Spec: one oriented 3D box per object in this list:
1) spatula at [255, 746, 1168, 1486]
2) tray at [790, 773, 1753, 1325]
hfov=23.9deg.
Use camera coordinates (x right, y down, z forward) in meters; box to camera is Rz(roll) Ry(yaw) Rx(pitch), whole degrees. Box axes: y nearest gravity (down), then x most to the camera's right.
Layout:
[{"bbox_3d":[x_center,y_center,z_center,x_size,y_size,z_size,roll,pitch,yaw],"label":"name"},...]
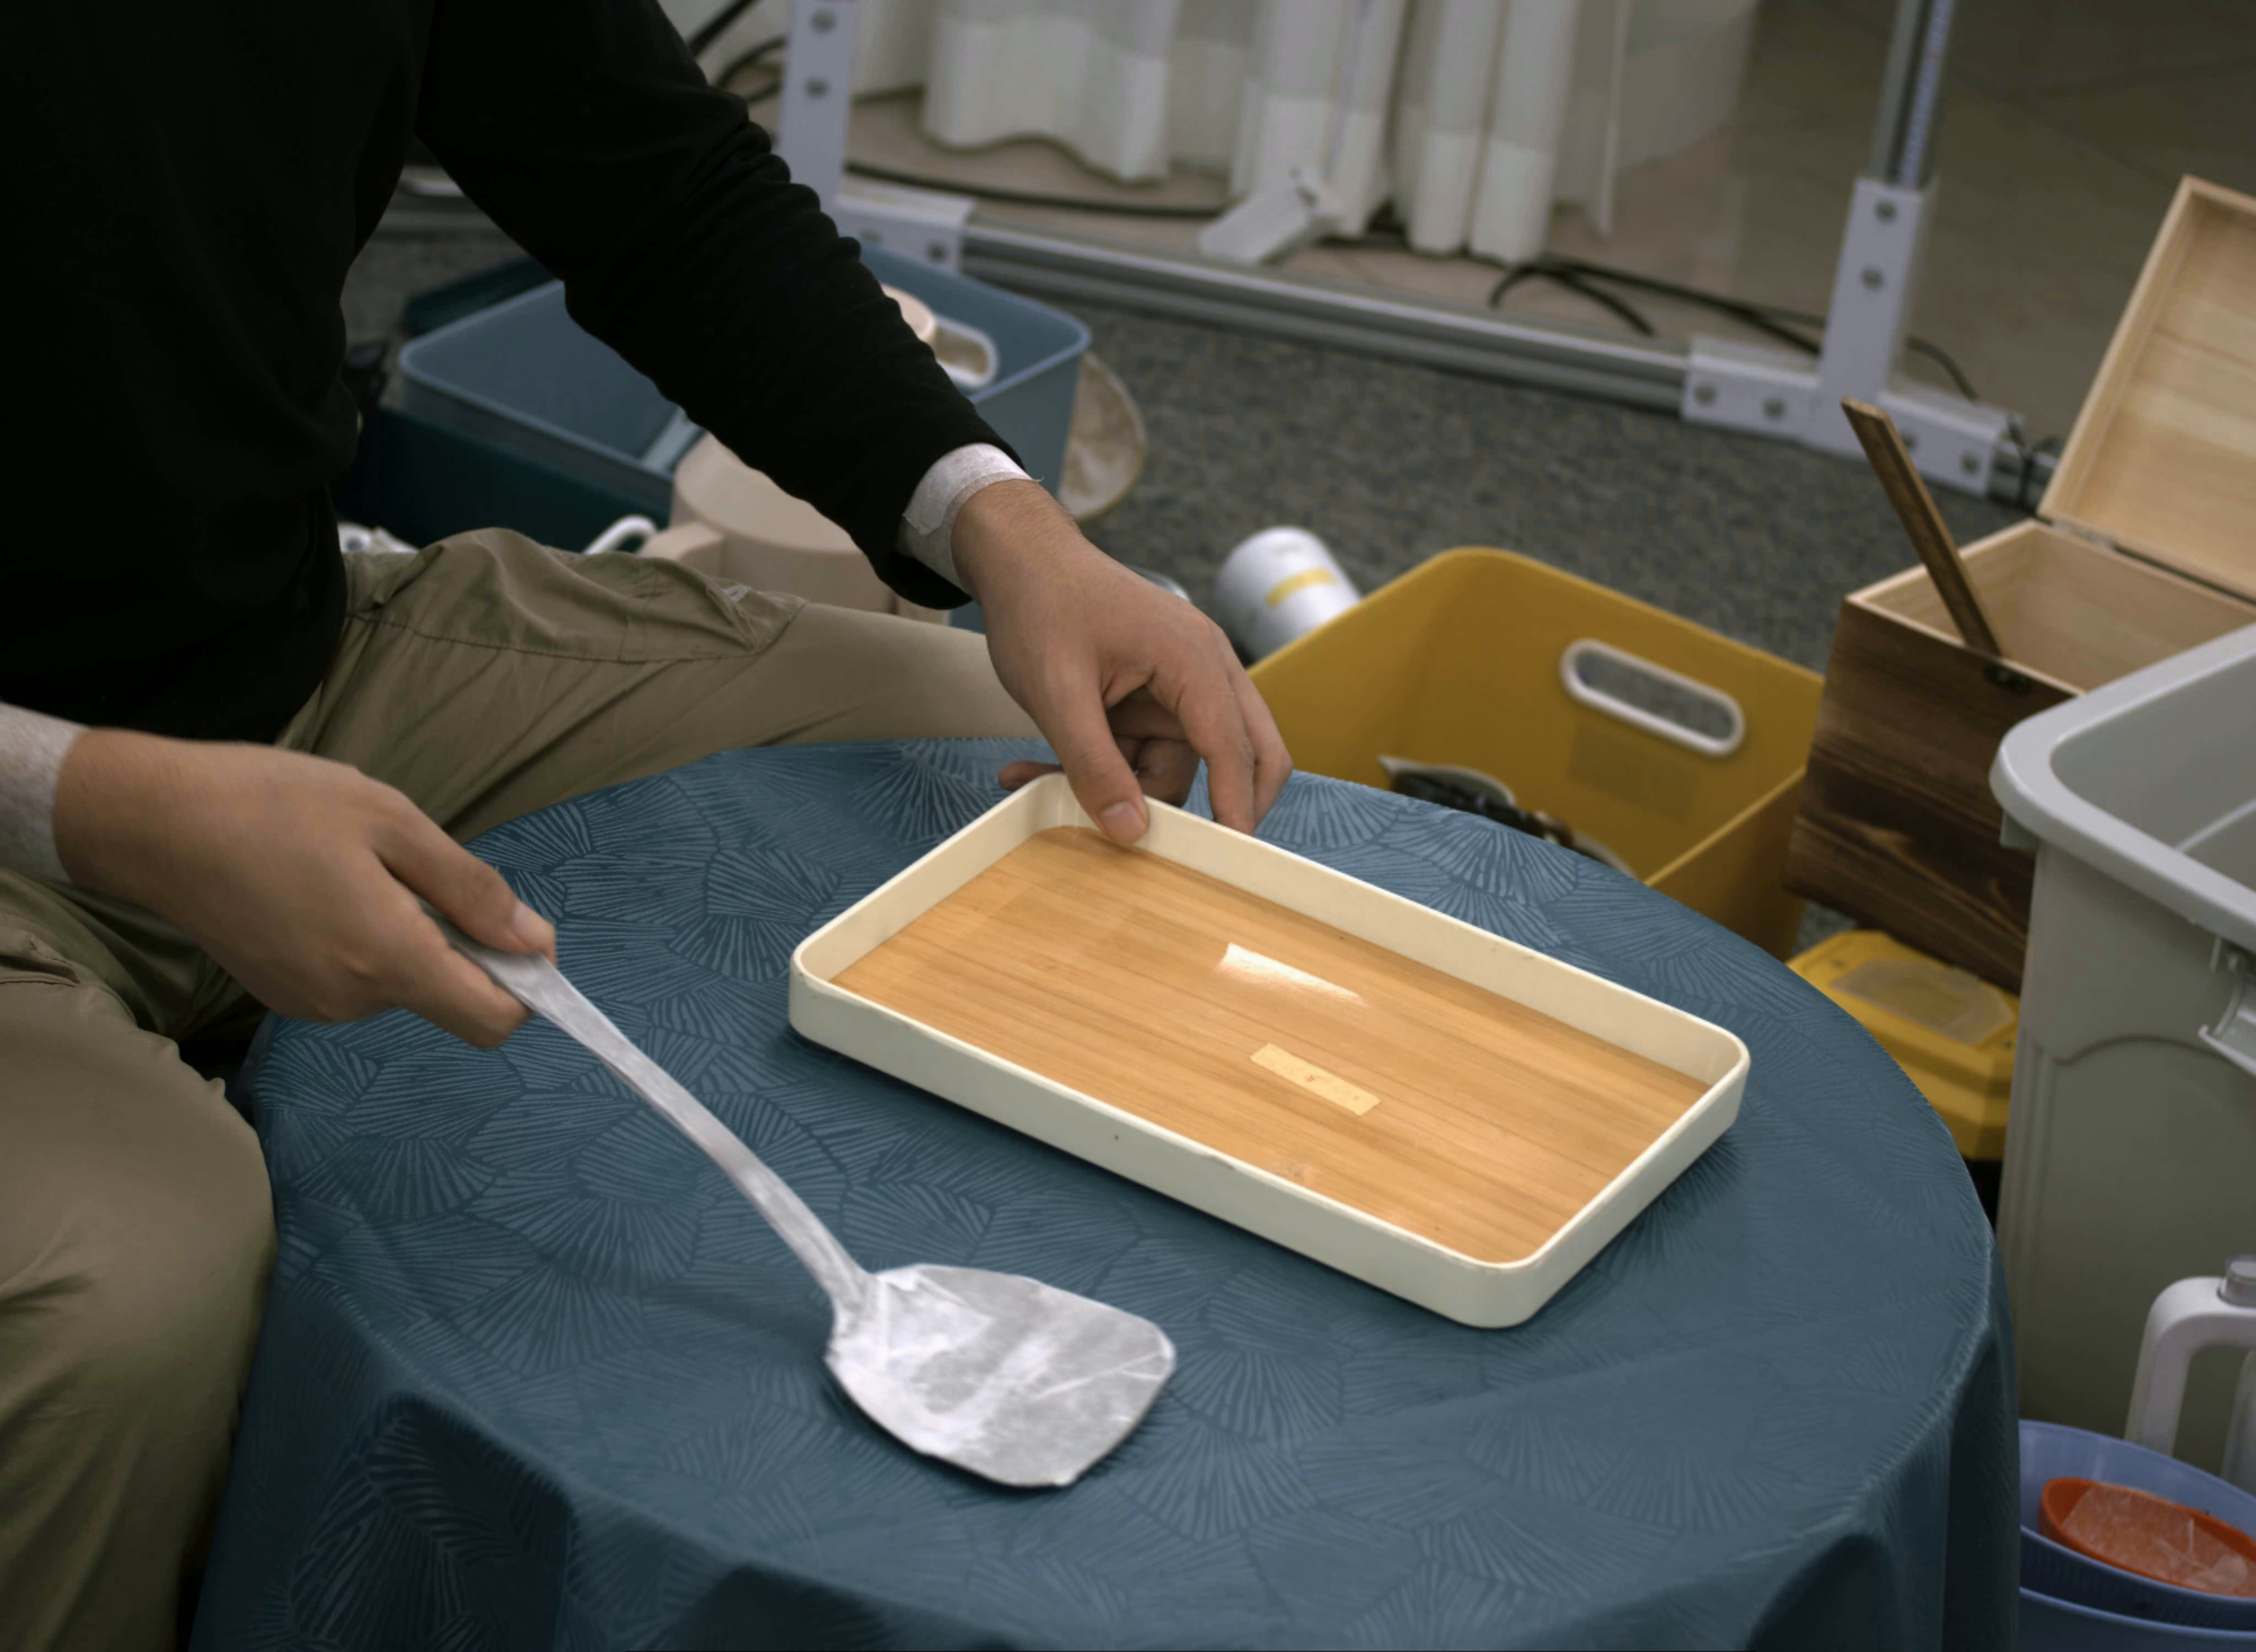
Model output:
[{"bbox_3d":[-0.146,0.084,1.698,0.366,0.044,0.098,41,42,8],"label":"spatula"},{"bbox_3d":[0.050,0.073,1.868,0.302,0.027,0.191,22,33,26],"label":"tray"}]
